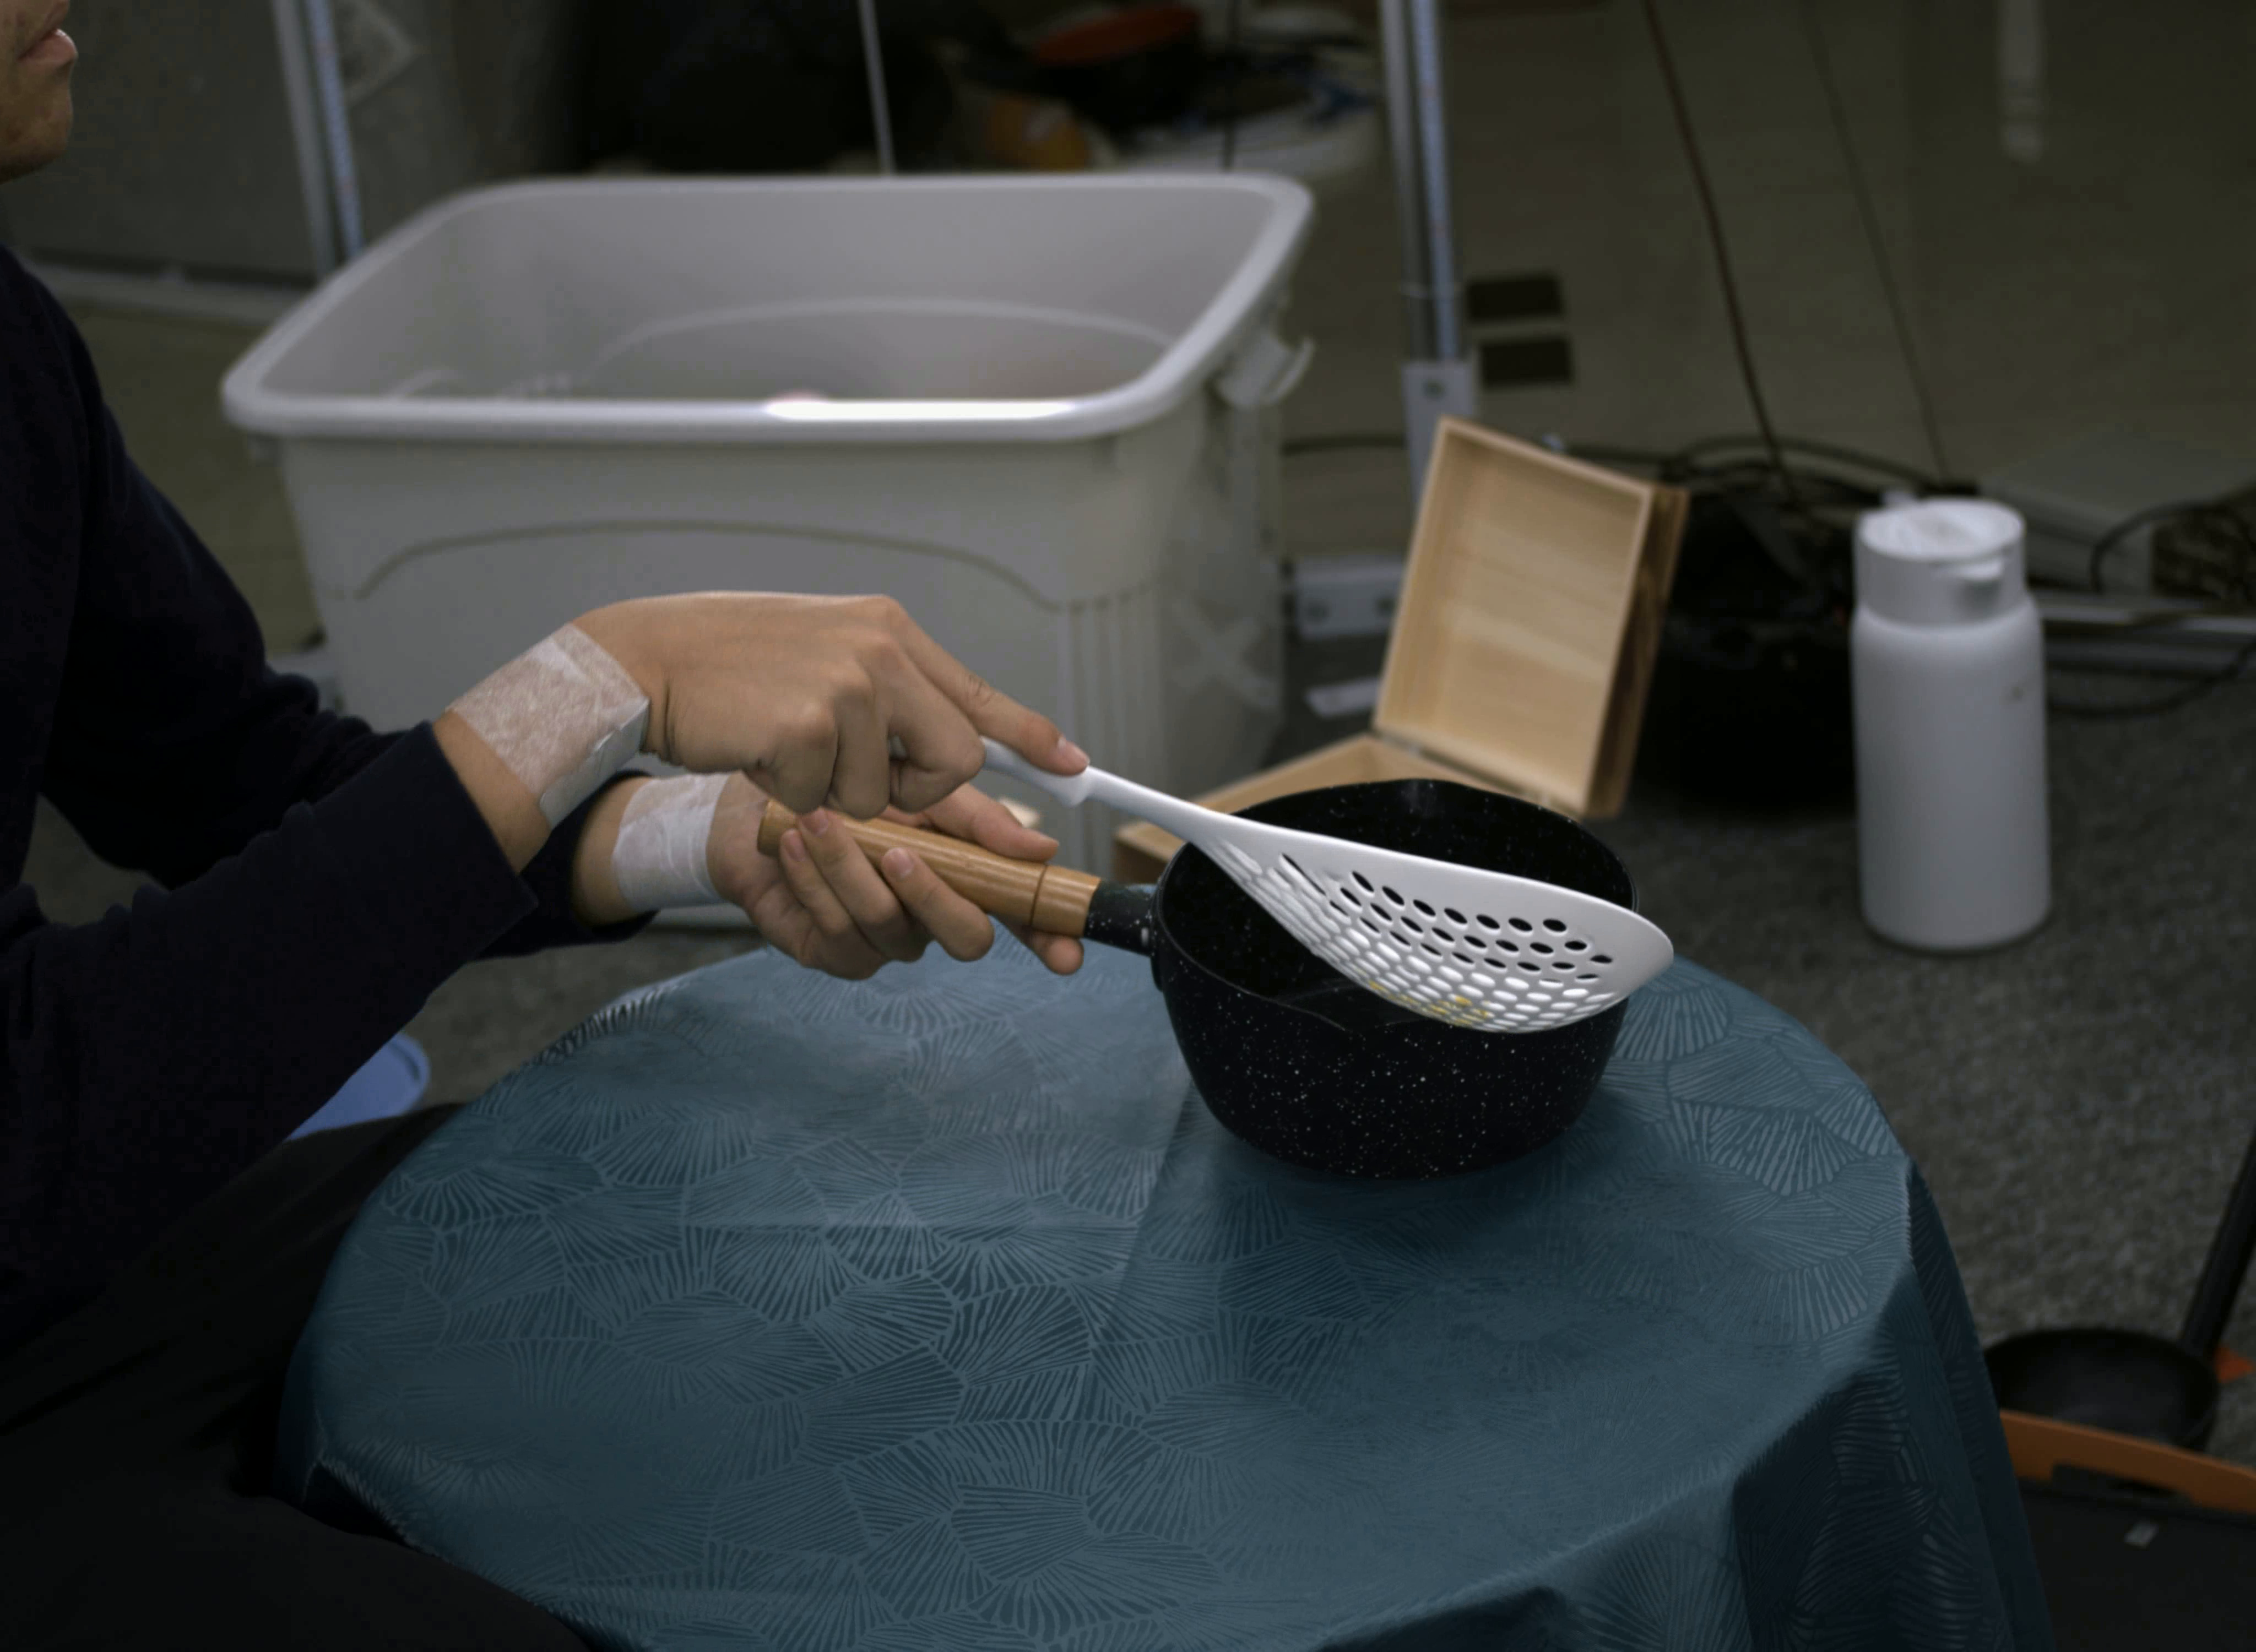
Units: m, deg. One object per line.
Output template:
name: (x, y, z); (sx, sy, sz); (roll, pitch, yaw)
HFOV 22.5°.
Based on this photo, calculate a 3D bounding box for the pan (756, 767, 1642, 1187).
pan: (0.024, 0.049, 2.175); (0.342, 0.110, 0.204); (4, 30, 8)

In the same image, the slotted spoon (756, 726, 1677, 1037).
slotted spoon: (0.029, 0.012, 1.976); (0.349, 0.050, 0.137); (23, -17, -21)
